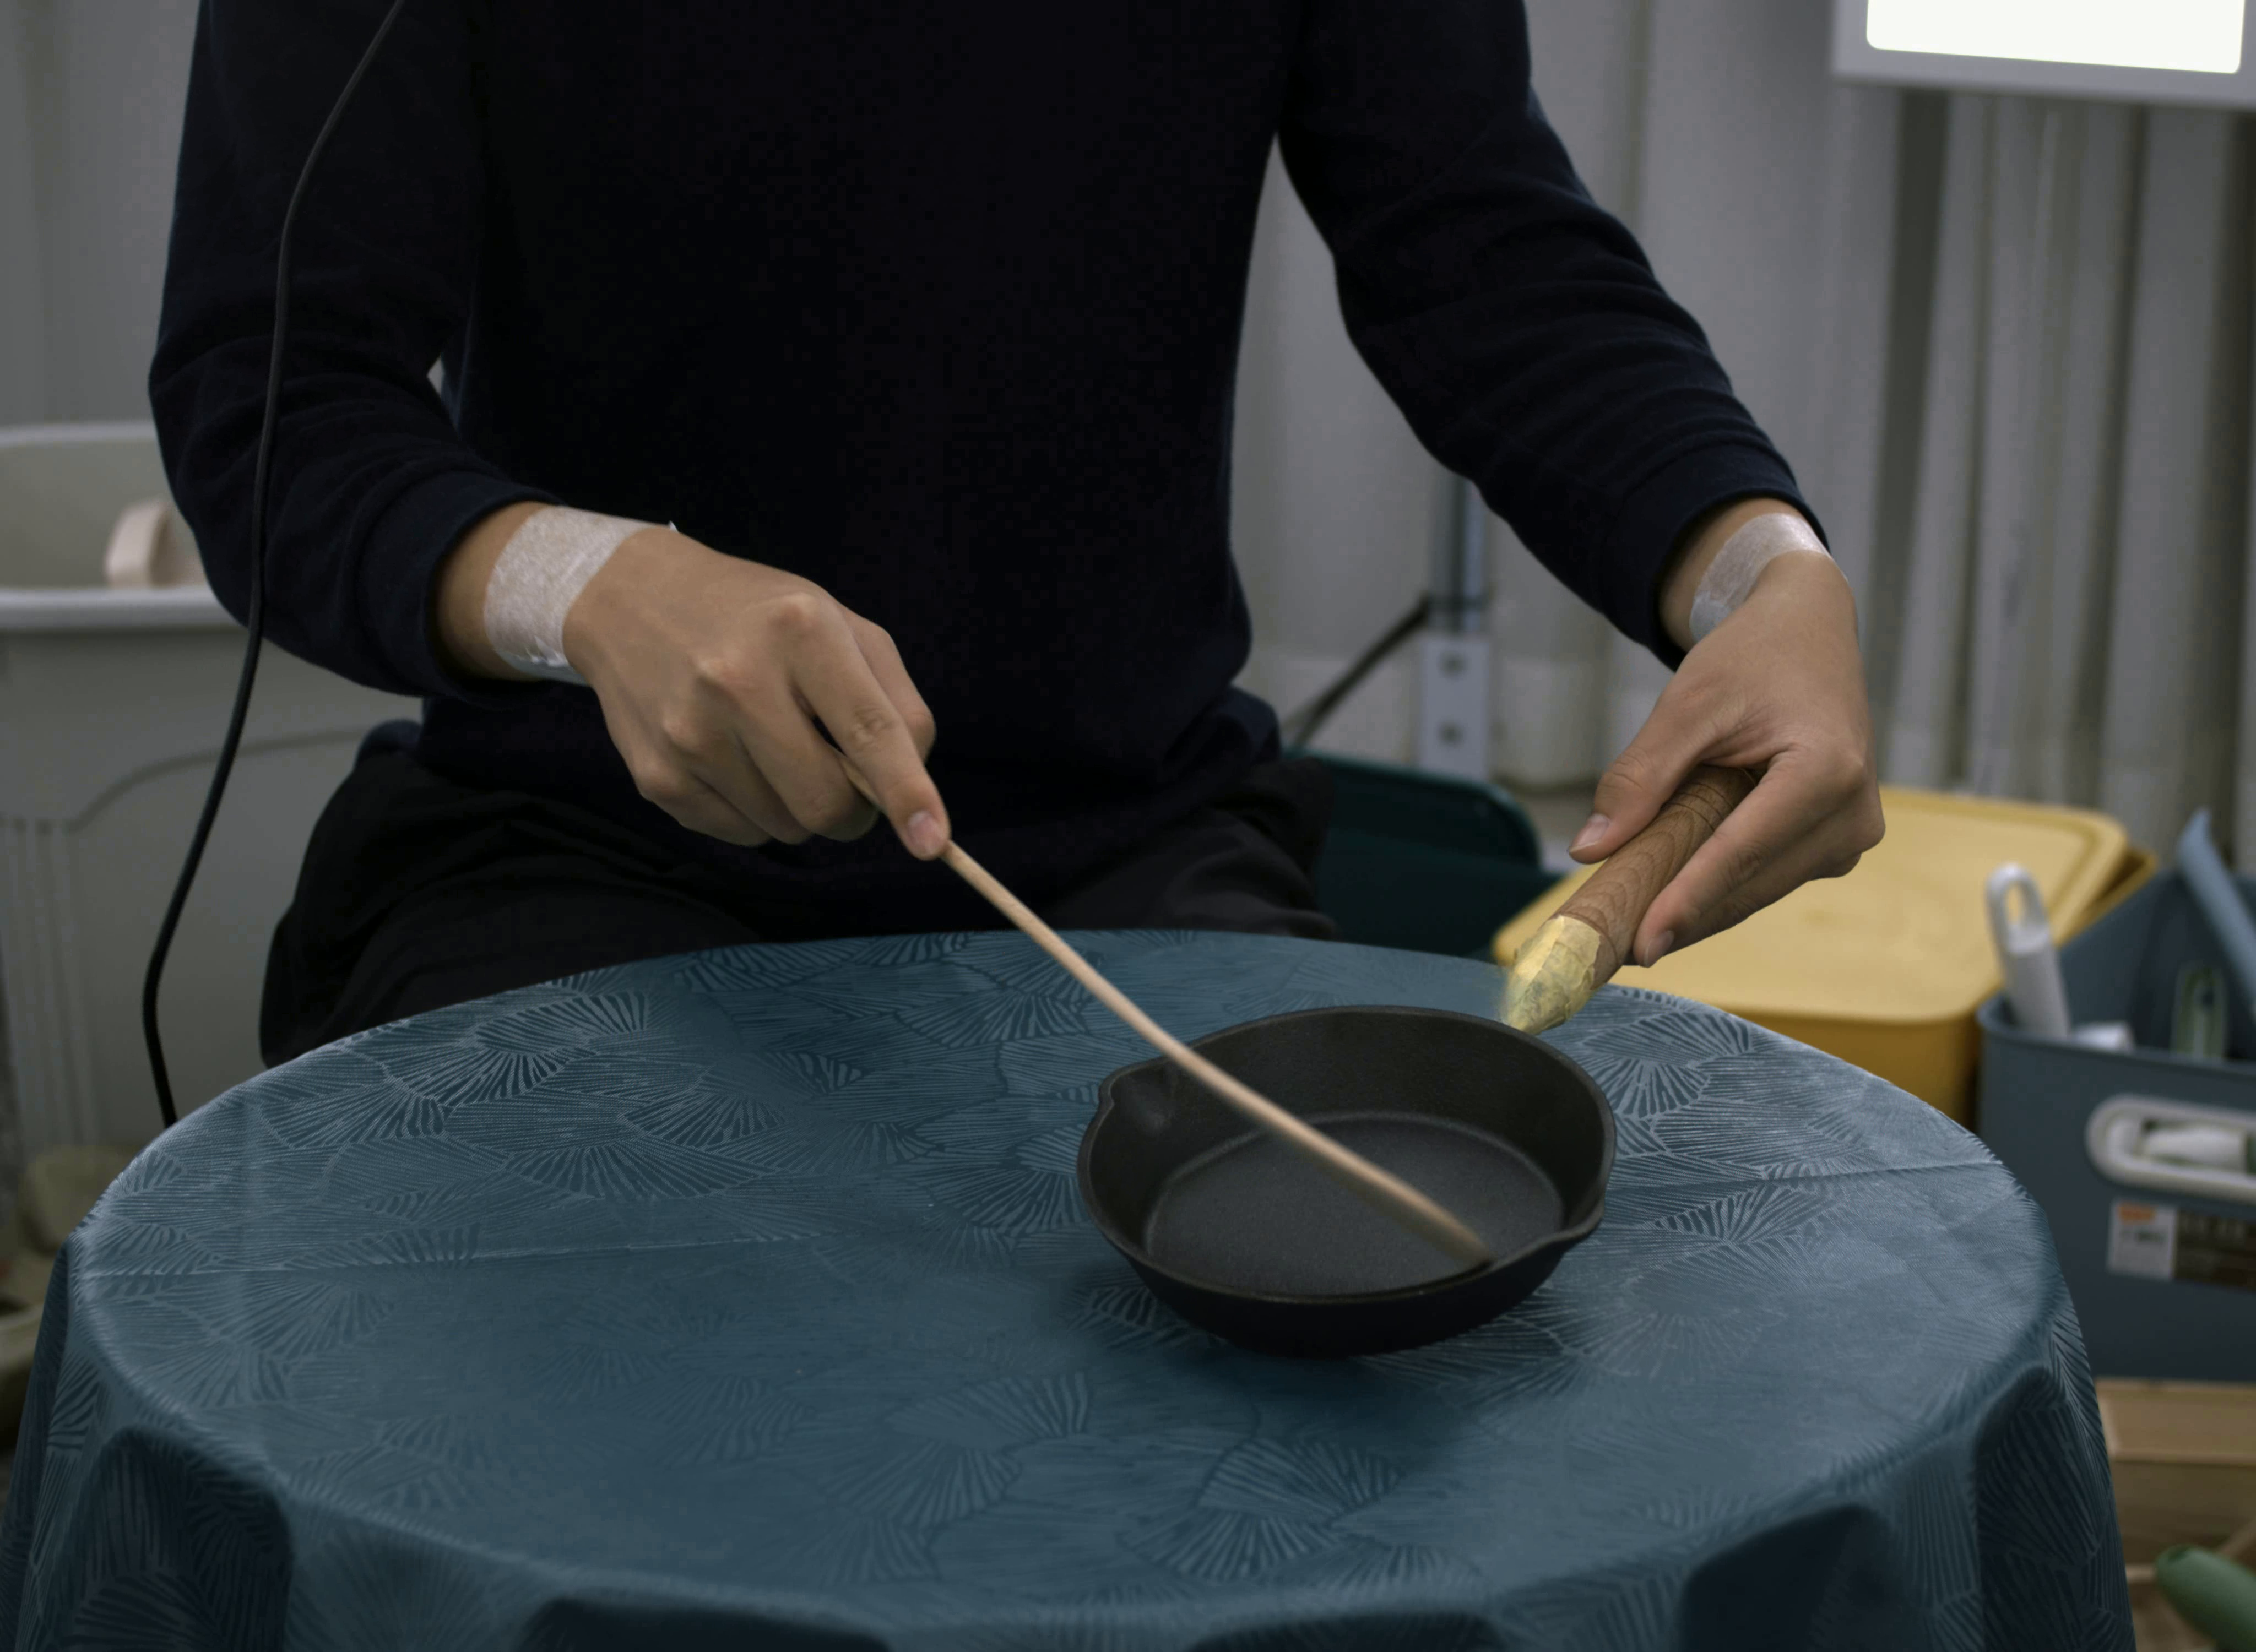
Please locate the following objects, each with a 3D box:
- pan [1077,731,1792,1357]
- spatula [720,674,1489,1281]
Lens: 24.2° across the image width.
[{"bbox_3d":[0.115,0.061,1.585,0.167,0.050,0.324,17,38,34],"label":"pan"},{"bbox_3d":[-0.013,0.040,1.534,0.323,0.016,0.081,39,-3,32],"label":"spatula"}]
